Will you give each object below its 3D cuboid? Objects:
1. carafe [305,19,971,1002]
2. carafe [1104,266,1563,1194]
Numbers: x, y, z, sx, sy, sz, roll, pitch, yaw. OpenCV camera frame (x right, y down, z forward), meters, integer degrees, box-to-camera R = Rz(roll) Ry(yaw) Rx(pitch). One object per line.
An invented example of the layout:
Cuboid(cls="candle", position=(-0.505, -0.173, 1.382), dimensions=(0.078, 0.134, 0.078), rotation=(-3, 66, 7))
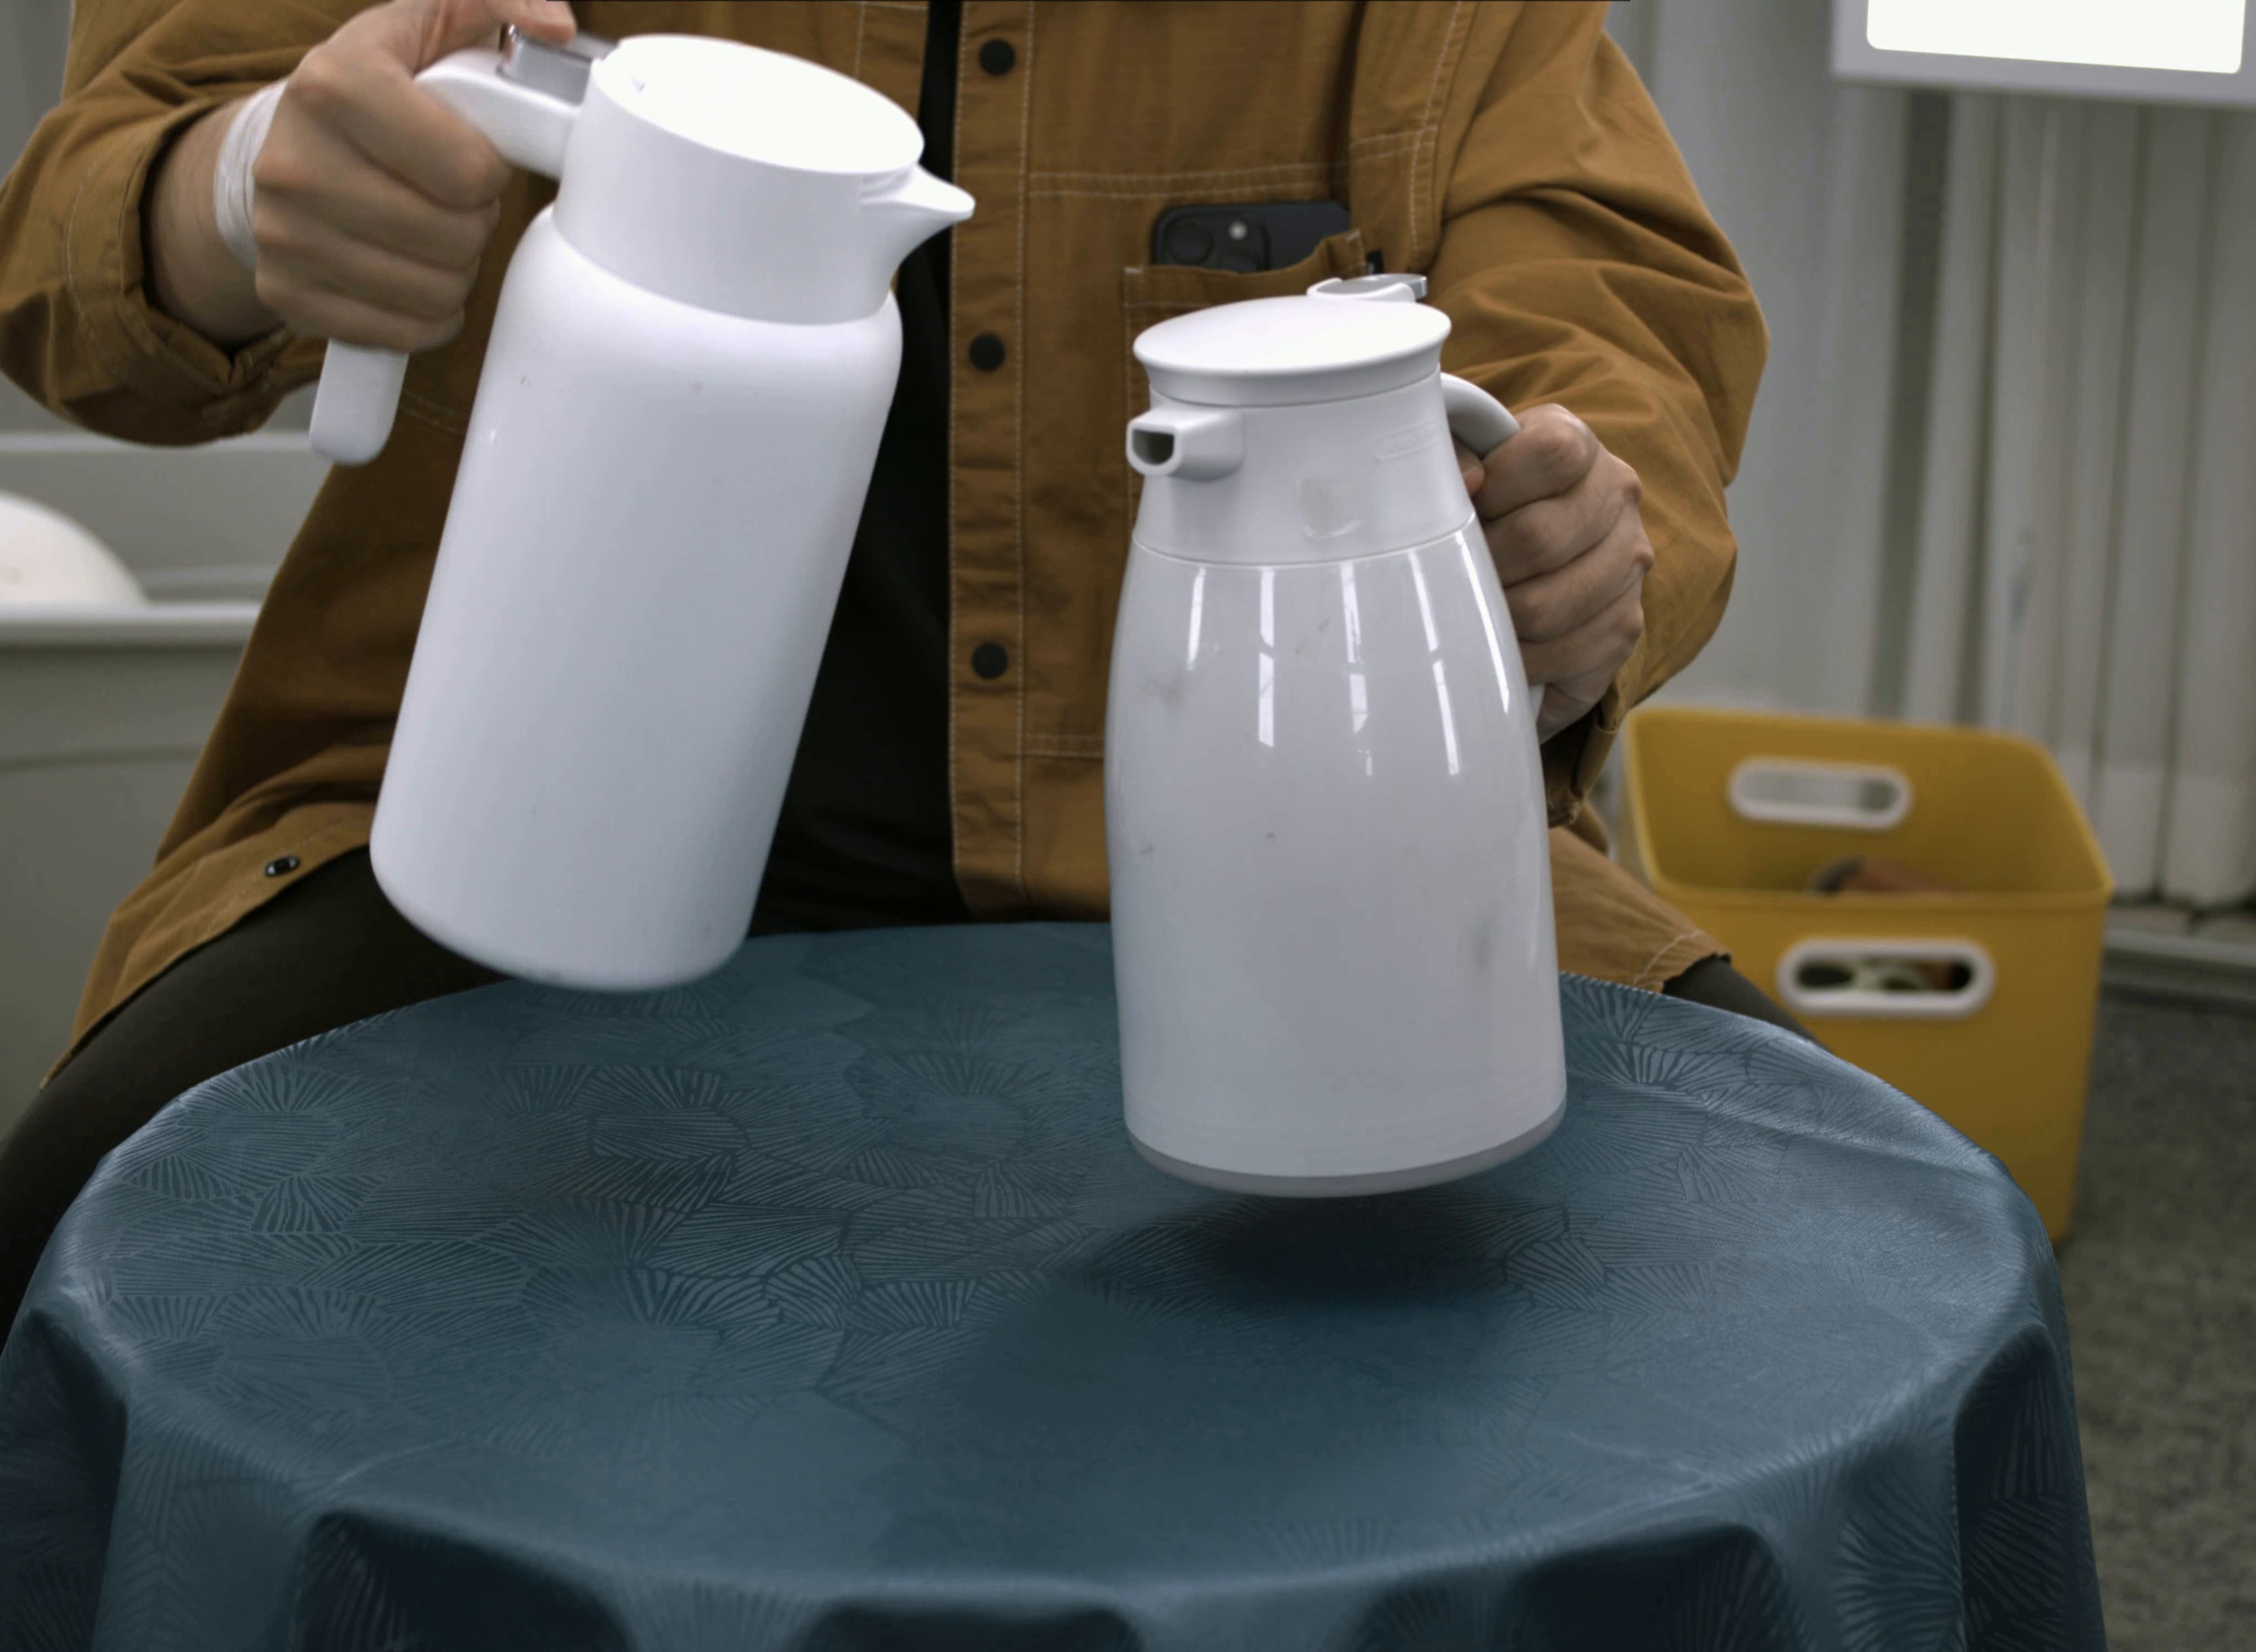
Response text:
Cuboid(cls="carafe", position=(-0.156, -0.094, 1.533), dimensions=(0.172, 0.271, 0.123), rotation=(19, 26, 6))
Cuboid(cls="carafe", position=(0.067, -0.036, 1.545), dimensions=(0.131, 0.251, 0.168), rotation=(11, 22, 39))
